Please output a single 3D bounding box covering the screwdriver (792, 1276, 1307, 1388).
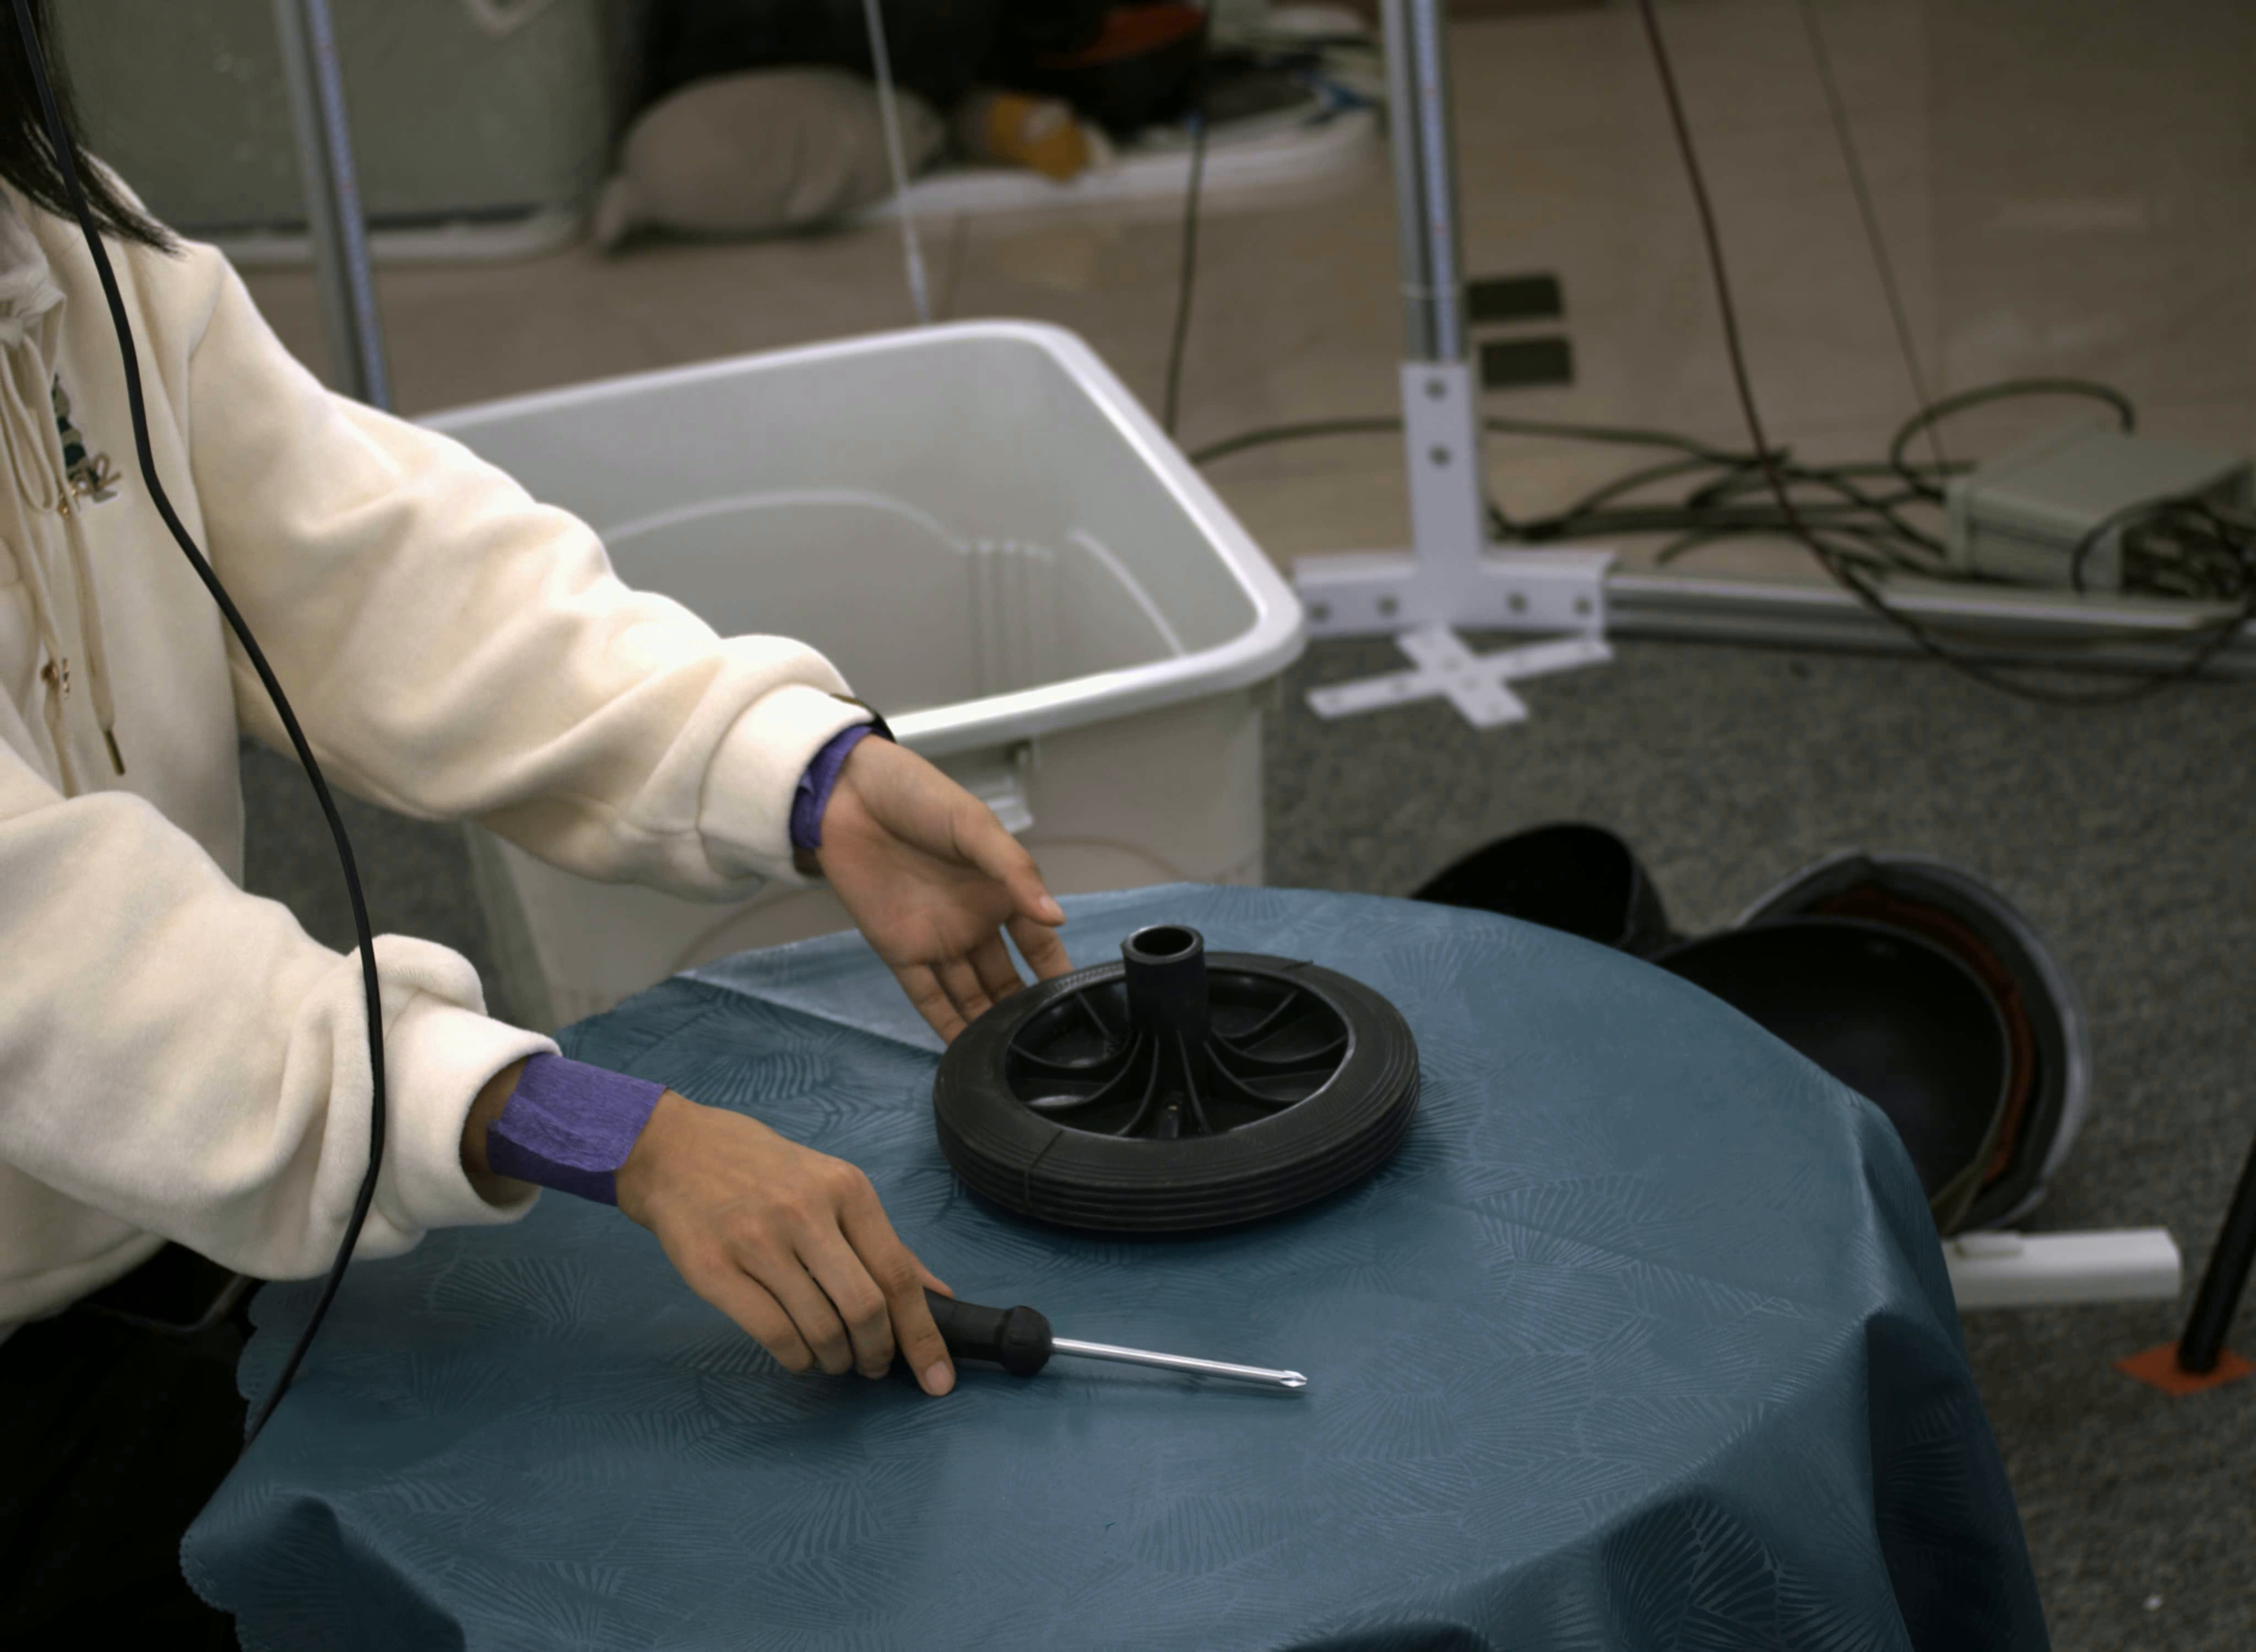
[{"bbox_3d":[-0.028,0.182,2.032,0.196,0.032,0.031,4,27,17],"label":"screwdriver"}]

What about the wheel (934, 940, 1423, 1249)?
[{"bbox_3d":[0.018,0.086,2.169,0.187,0.080,0.187,-12,30,-13],"label":"wheel"}]
